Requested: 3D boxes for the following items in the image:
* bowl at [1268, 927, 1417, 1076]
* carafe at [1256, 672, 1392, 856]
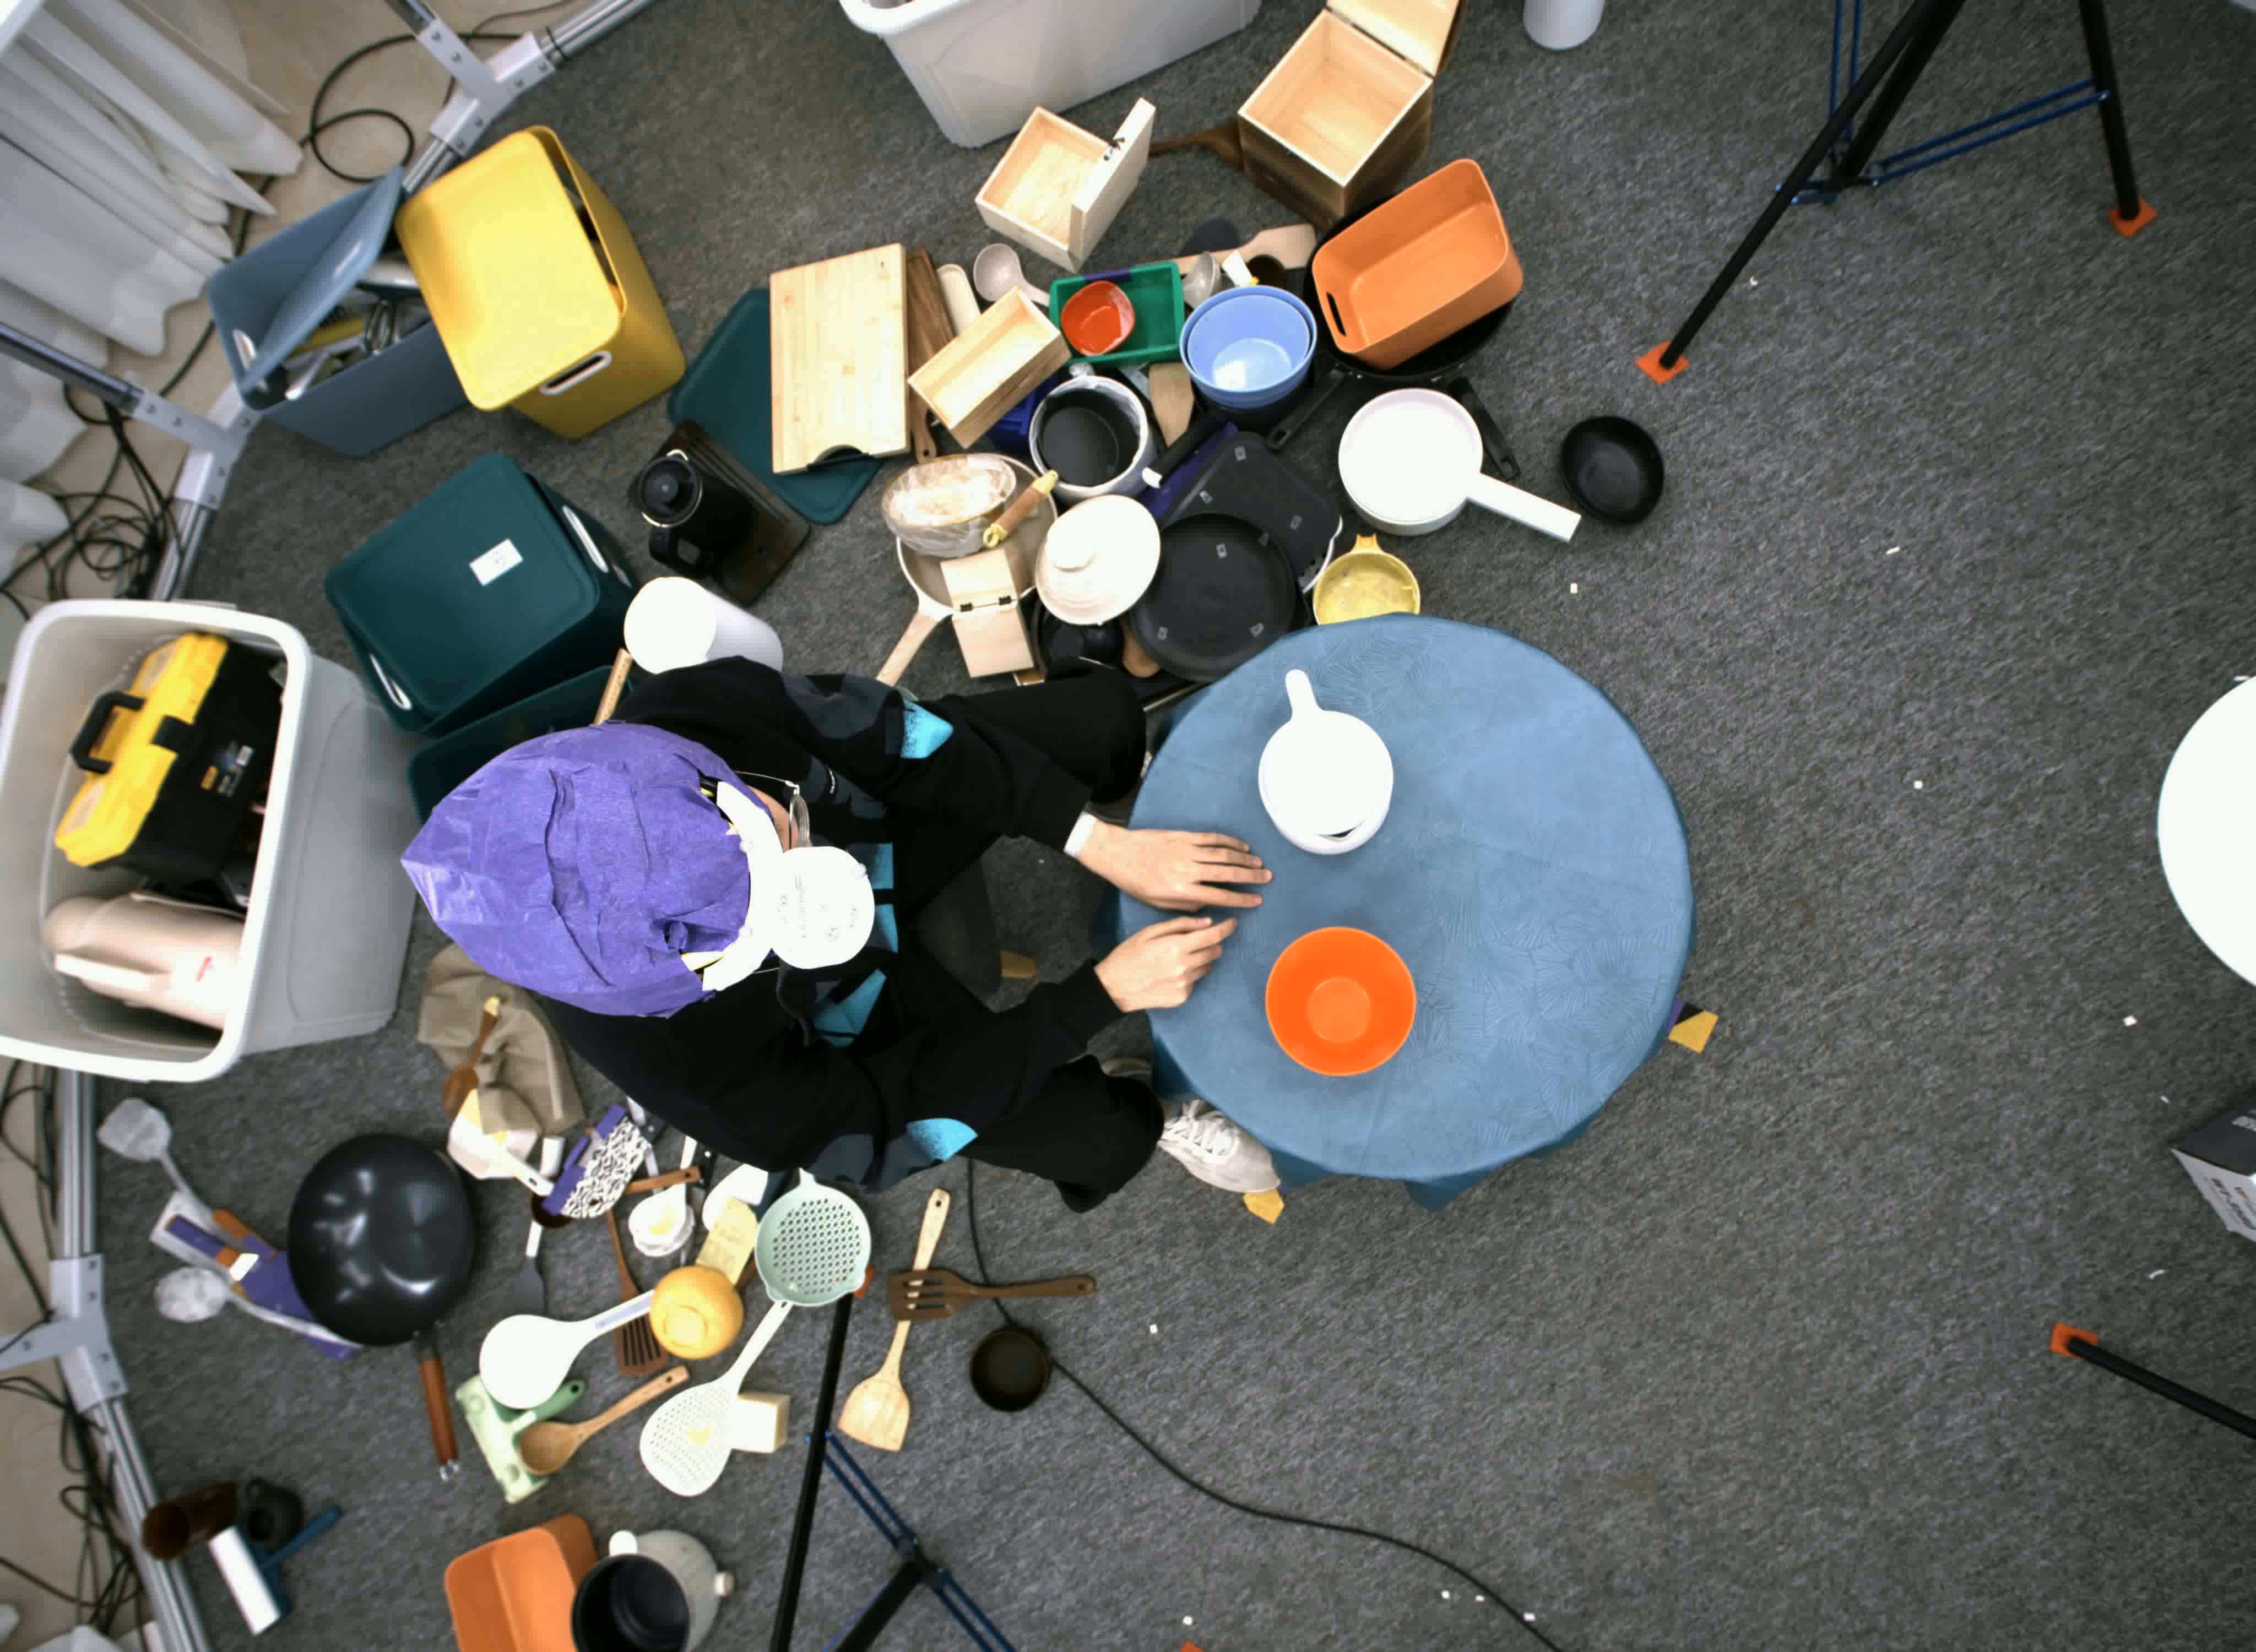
[{"bbox_3d":[0.218,0.178,1.409,0.148,0.105,0.147,-1,86,10],"label":"bowl"},{"bbox_3d":[0.191,-0.065,1.391,0.133,0.183,0.189,-18,81,7],"label":"carafe"}]
